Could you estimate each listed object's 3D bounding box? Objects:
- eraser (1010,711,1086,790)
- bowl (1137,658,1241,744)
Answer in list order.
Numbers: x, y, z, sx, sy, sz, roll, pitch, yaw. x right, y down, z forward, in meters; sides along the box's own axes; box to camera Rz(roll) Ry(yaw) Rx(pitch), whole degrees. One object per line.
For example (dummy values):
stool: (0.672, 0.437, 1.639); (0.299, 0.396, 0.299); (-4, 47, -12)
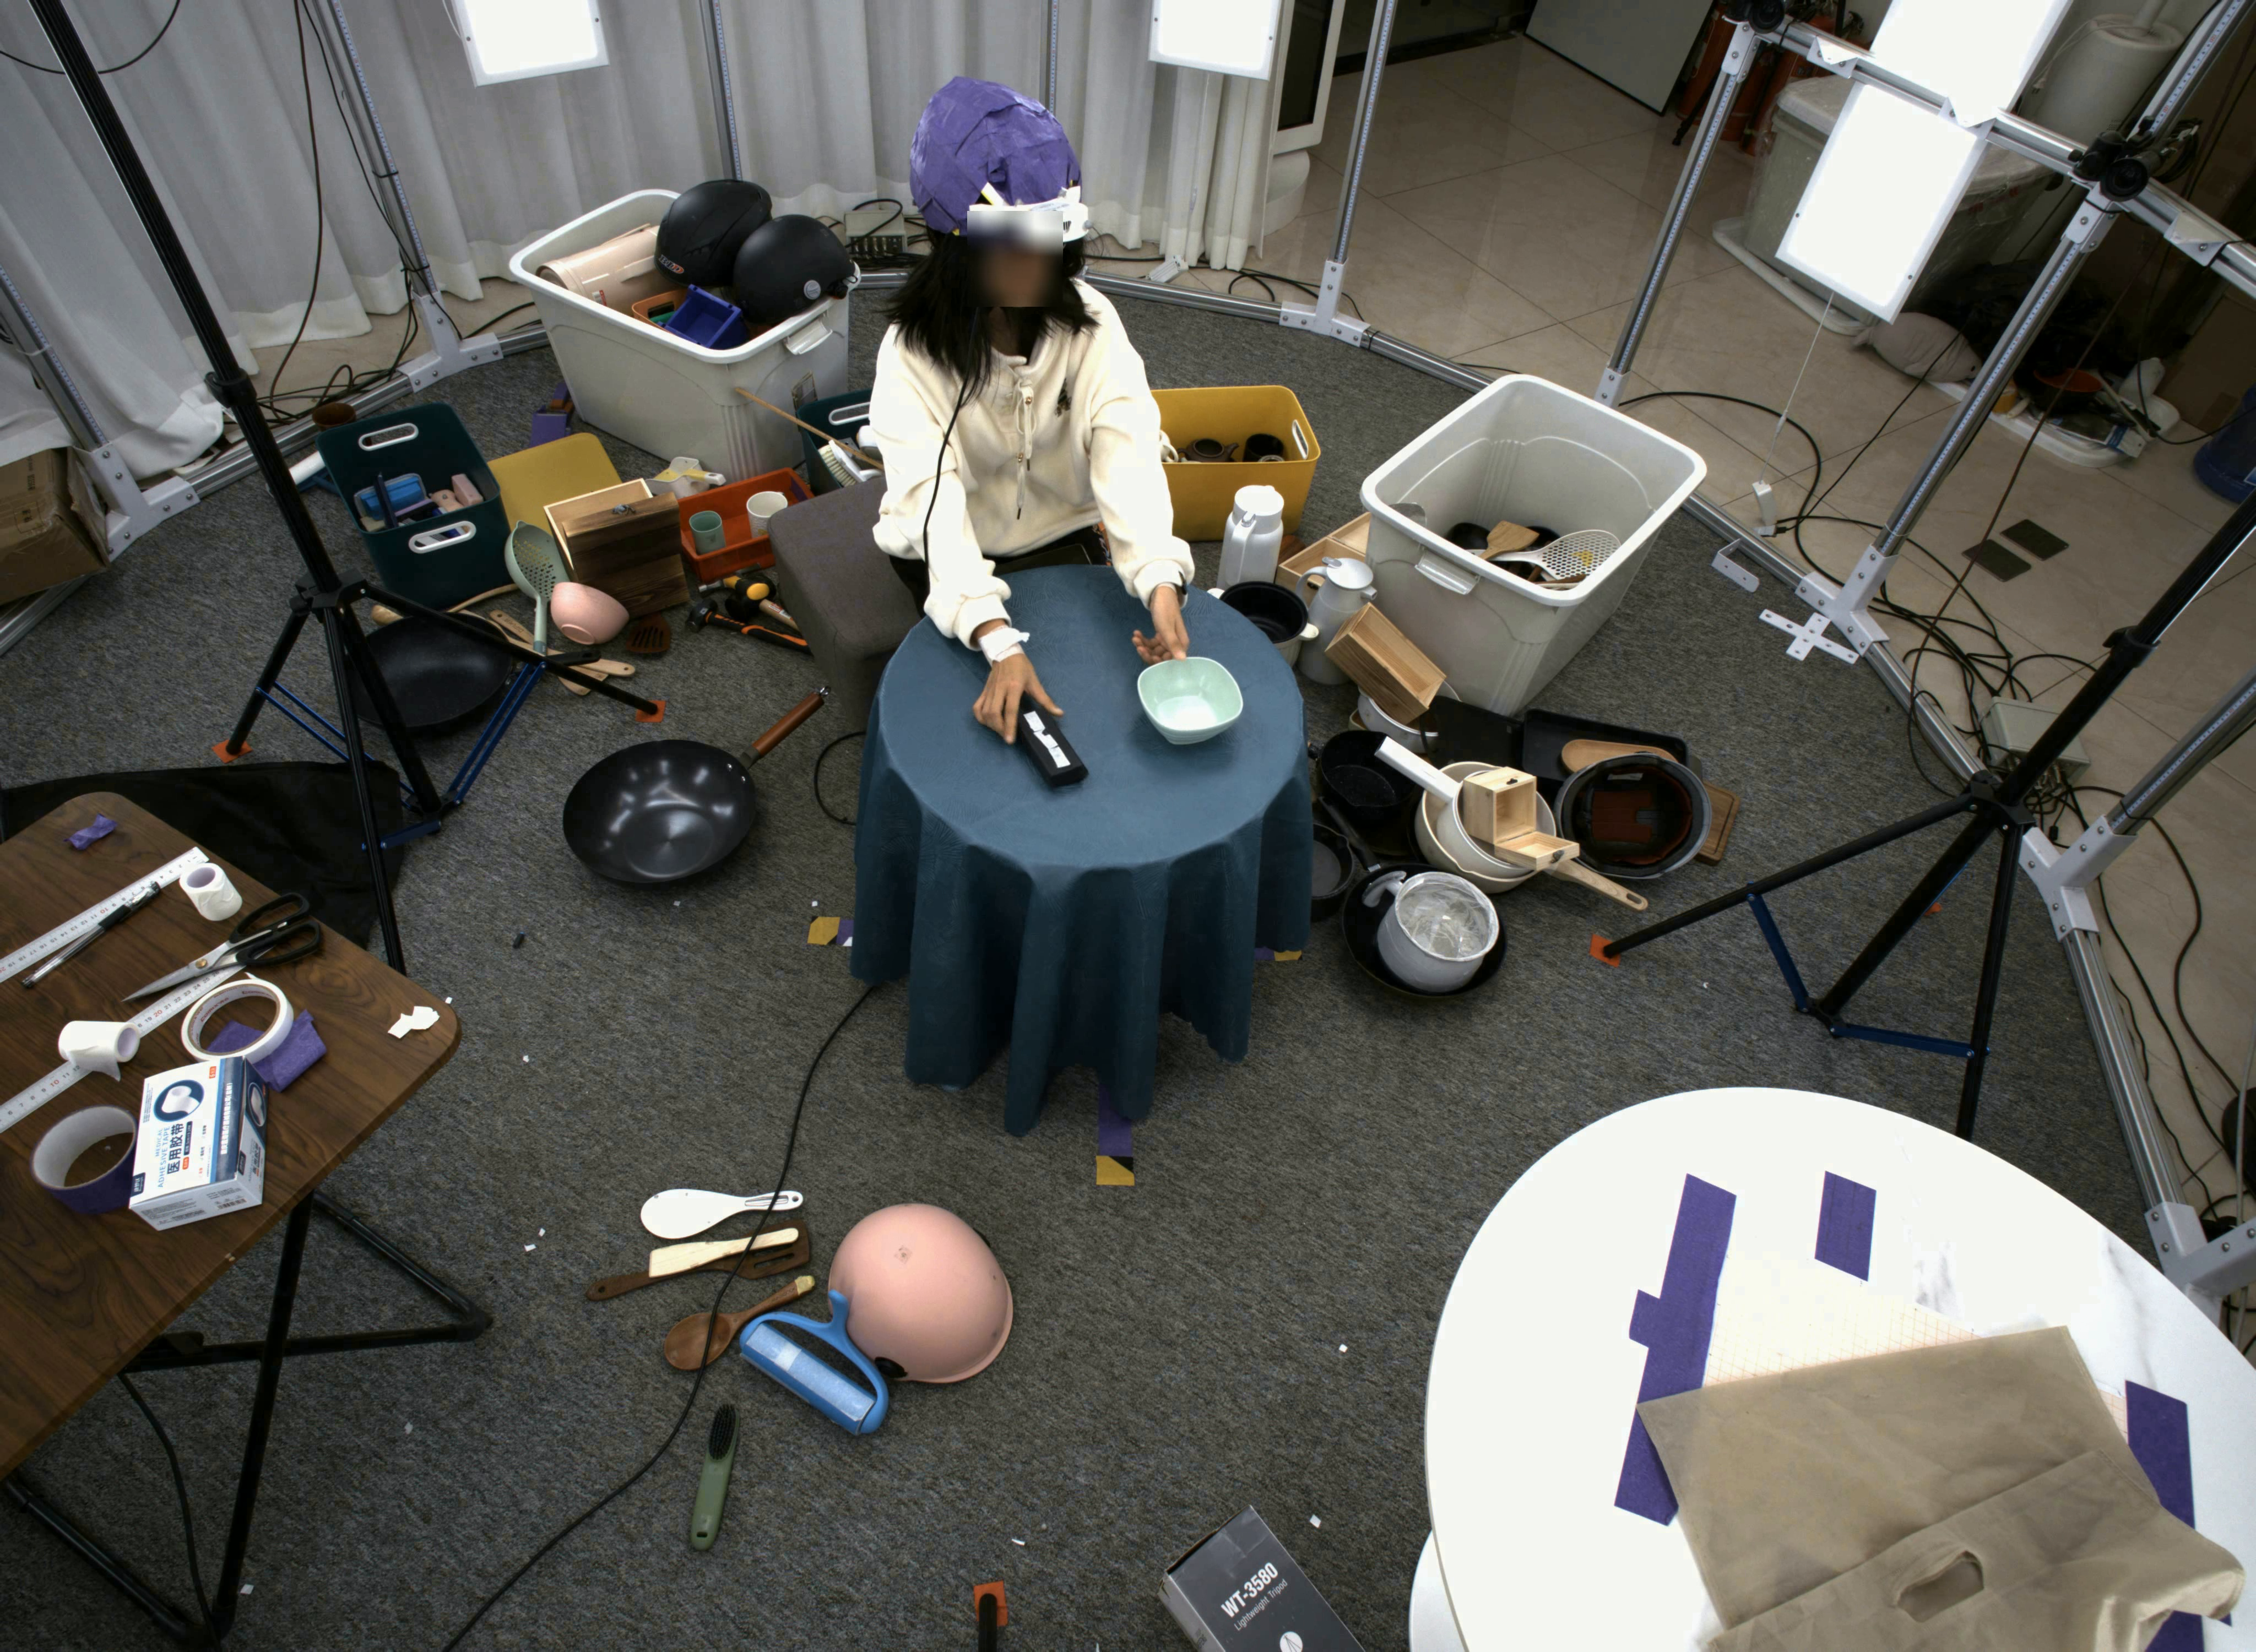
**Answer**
eraser: (-0.109, -0.103, 1.735); (0.053, 0.030, 0.128); (-20, 51, -22)
bowl: (0.081, -0.165, 1.782); (0.151, 0.057, 0.155); (4, 49, -4)
